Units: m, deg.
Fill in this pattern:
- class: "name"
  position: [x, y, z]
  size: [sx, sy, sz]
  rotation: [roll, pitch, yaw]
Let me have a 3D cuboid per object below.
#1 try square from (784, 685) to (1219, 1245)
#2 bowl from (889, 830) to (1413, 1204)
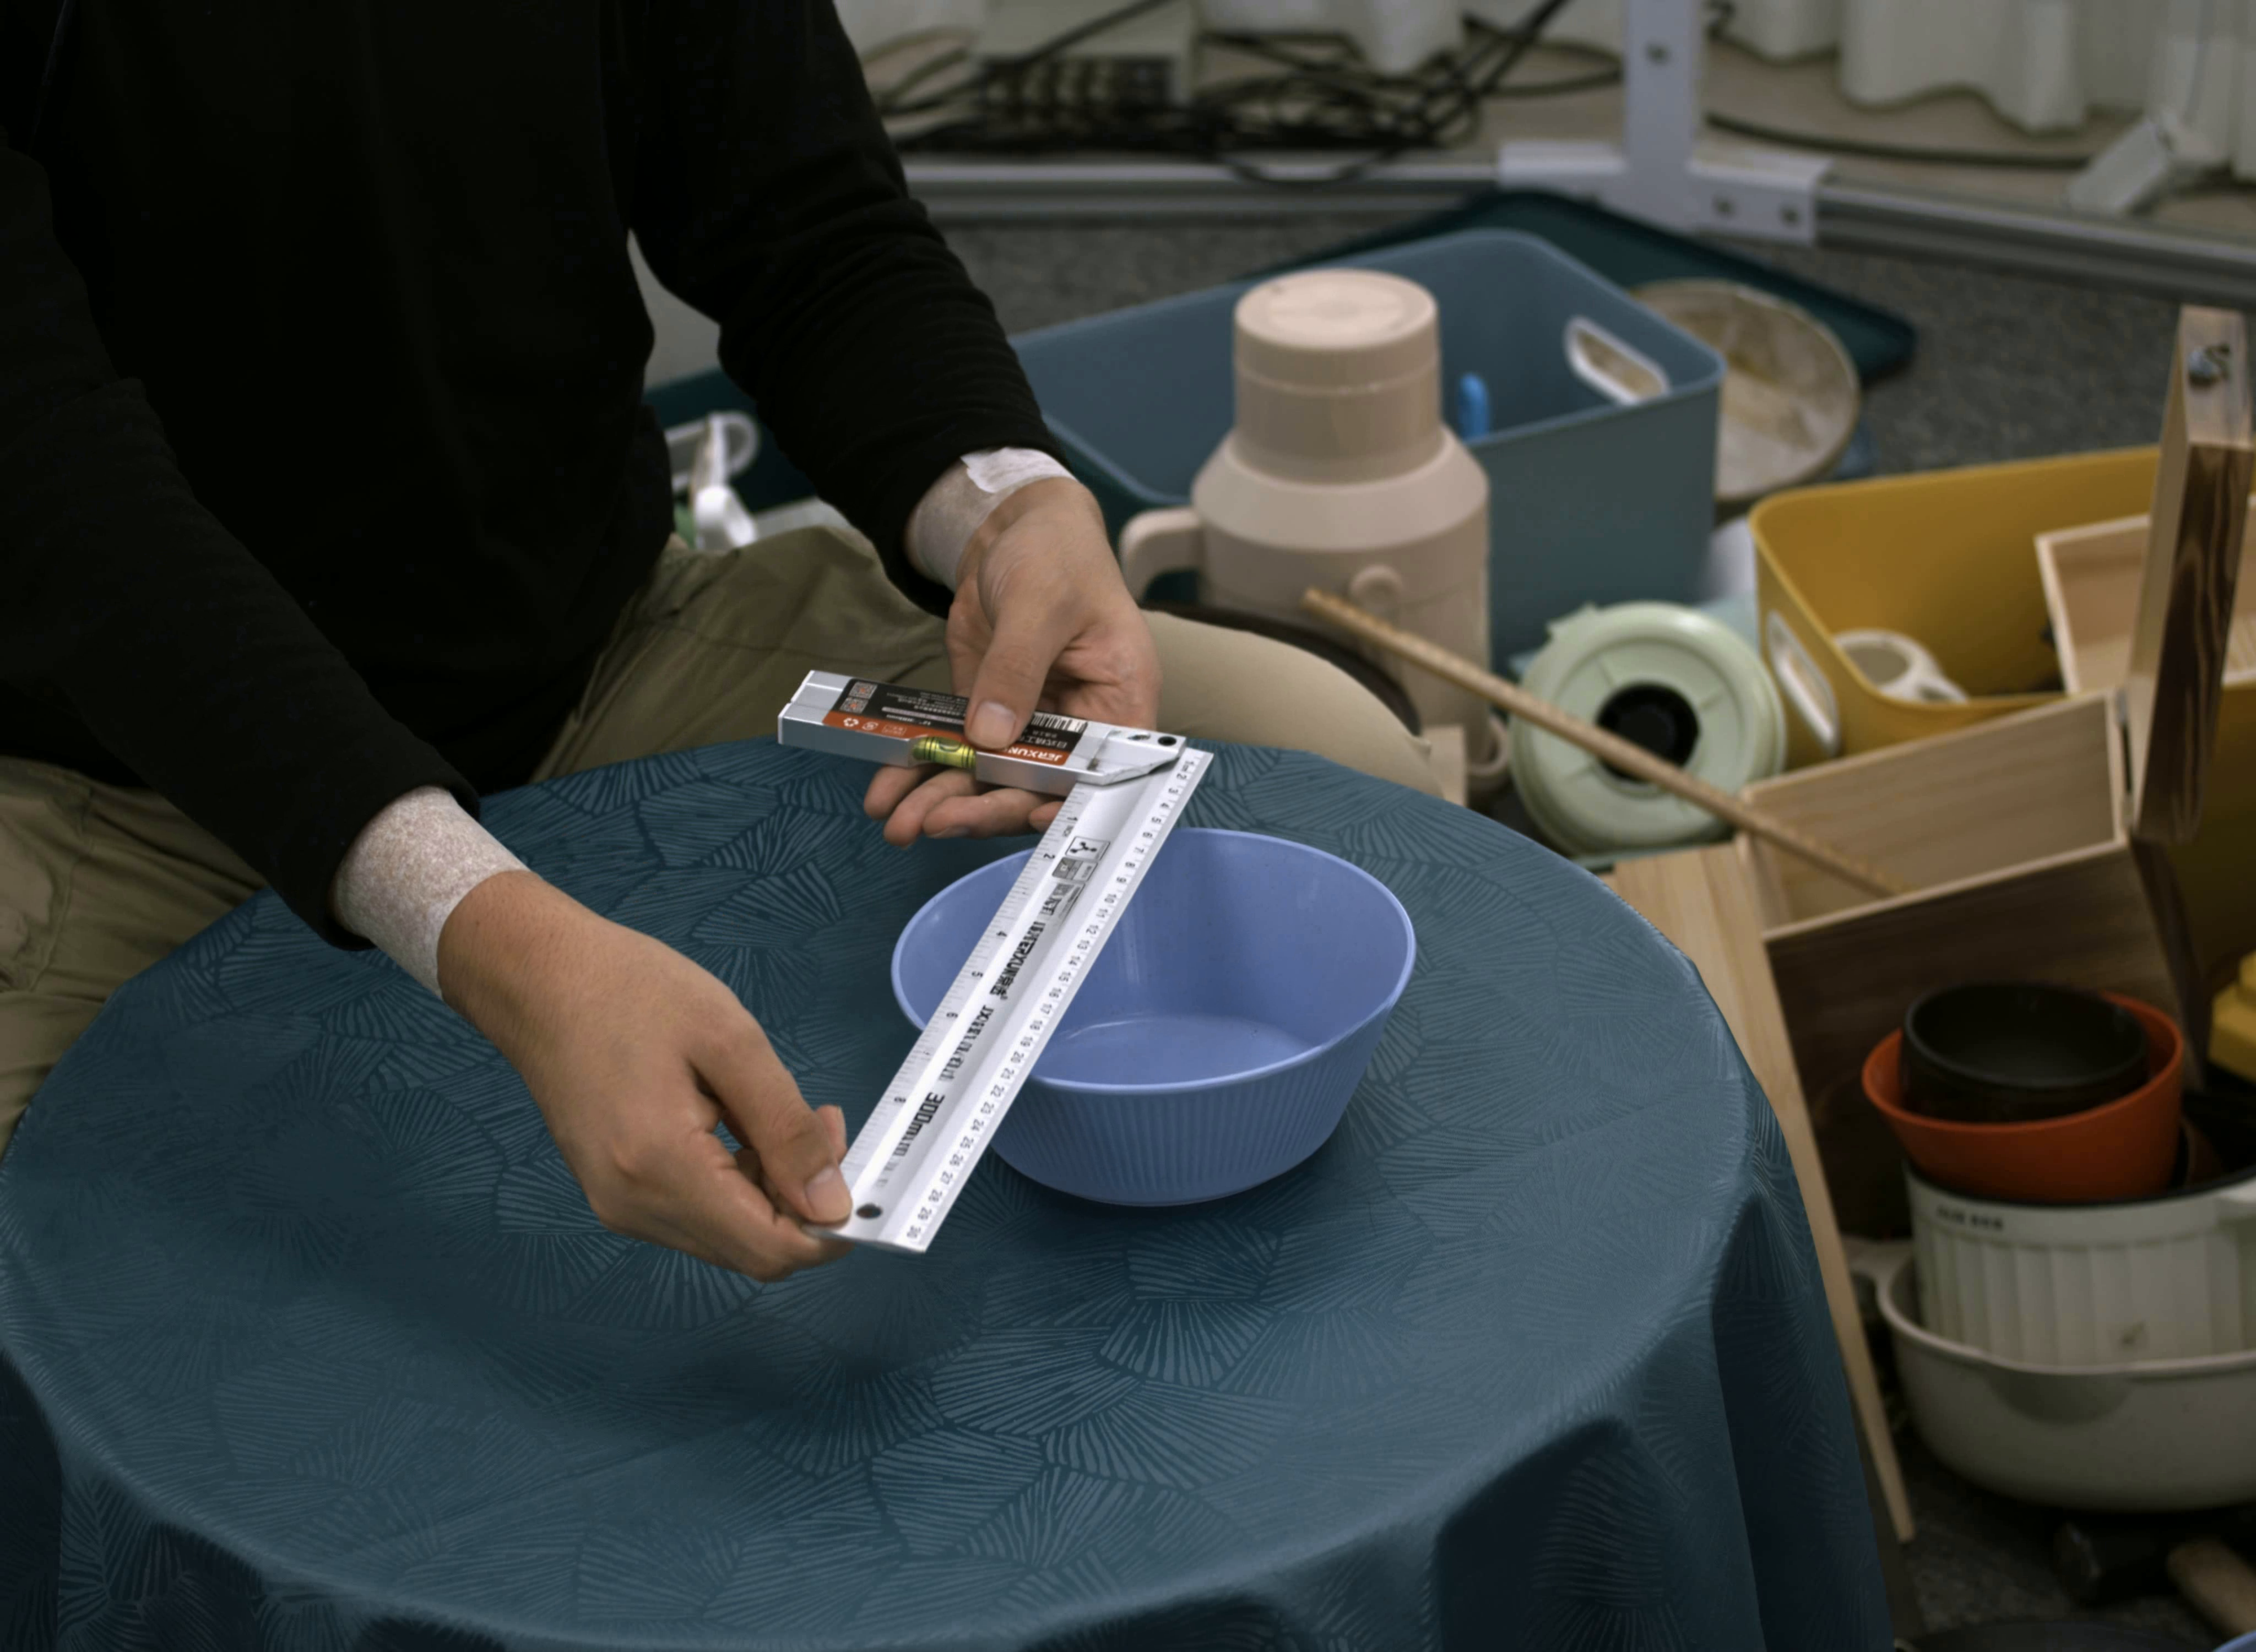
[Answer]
- class: "try square"
  position: [-0.085, 0.040, 1.856]
  size: [0.151, 0.015, 0.318]
  rotation: [8, 32, 16]
- class: "bowl"
  position: [0.009, 0.070, 1.886]
  size: [0.175, 0.069, 0.179]
  rotation: [-2, 27, 1]
